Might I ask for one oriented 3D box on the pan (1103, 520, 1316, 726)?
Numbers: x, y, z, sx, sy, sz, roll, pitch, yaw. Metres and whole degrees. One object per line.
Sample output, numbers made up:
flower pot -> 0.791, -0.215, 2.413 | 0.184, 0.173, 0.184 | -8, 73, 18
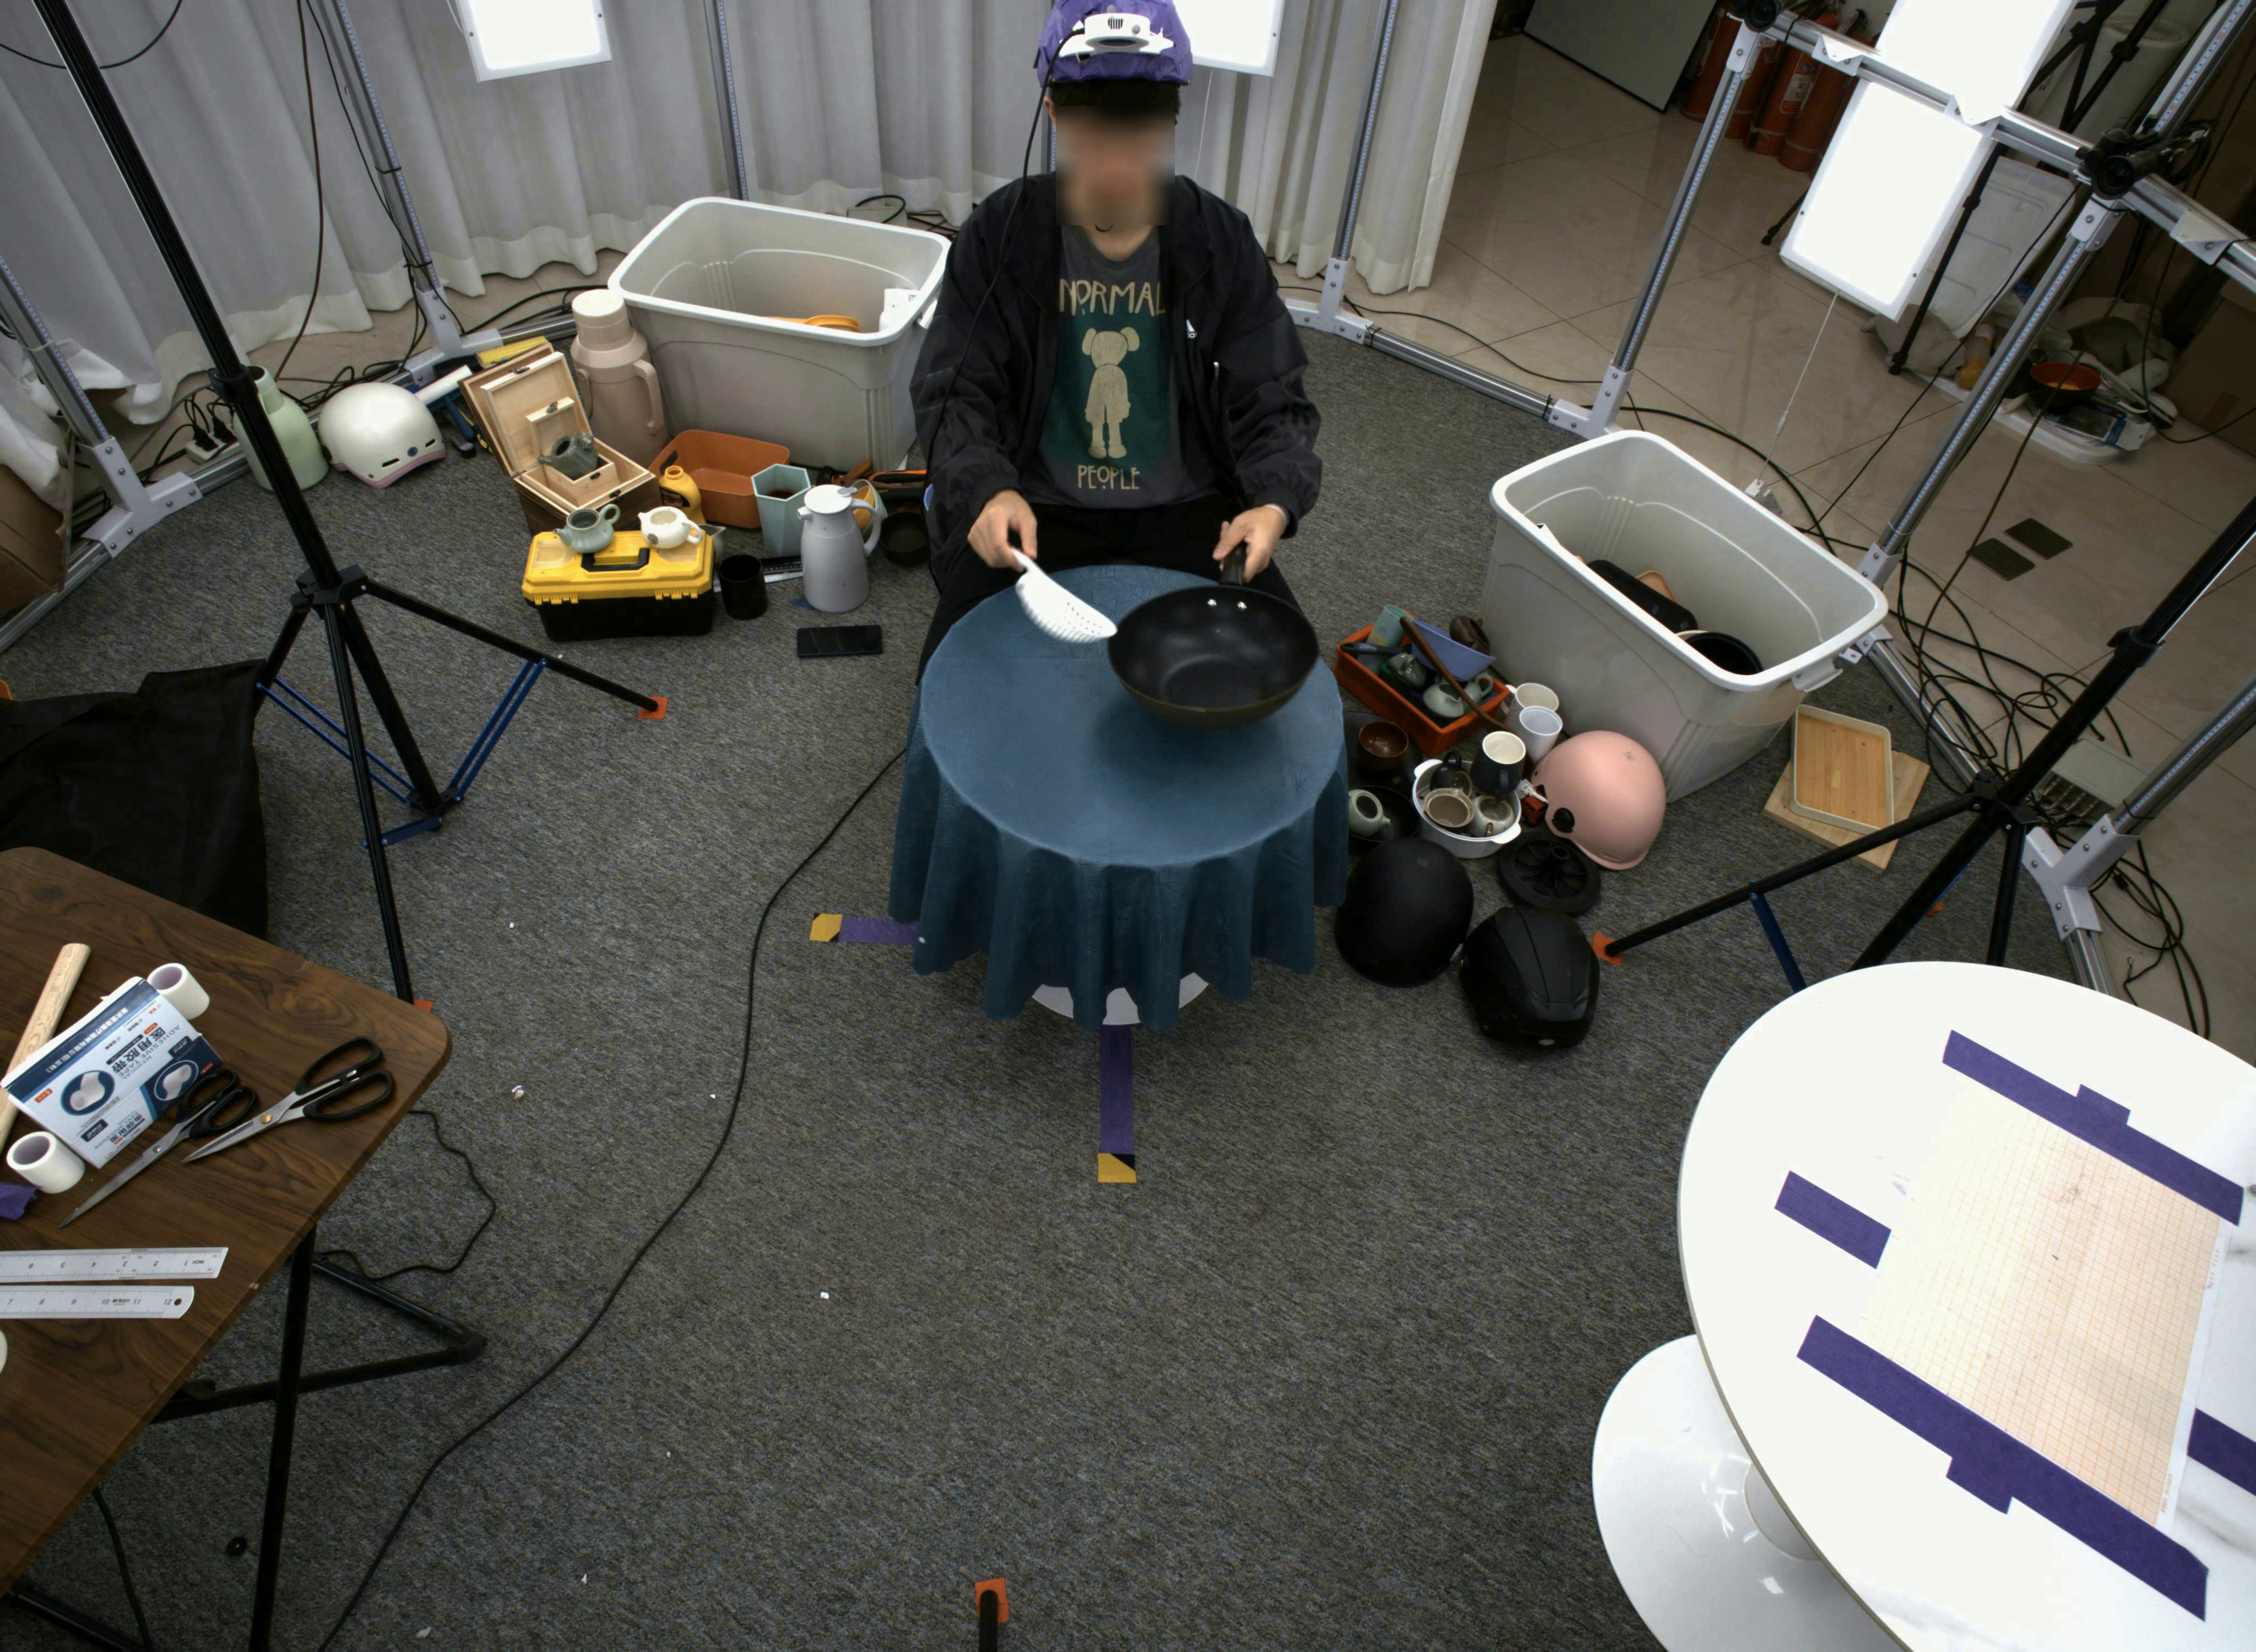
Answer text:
pan -> 0.130, -0.283, 1.816 | 0.289, 0.085, 0.474 | 5, 43, 12

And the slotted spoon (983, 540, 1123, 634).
slotted spoon -> -0.120, -0.334, 1.734 | 0.135, 0.050, 0.356 | 19, 22, -35
